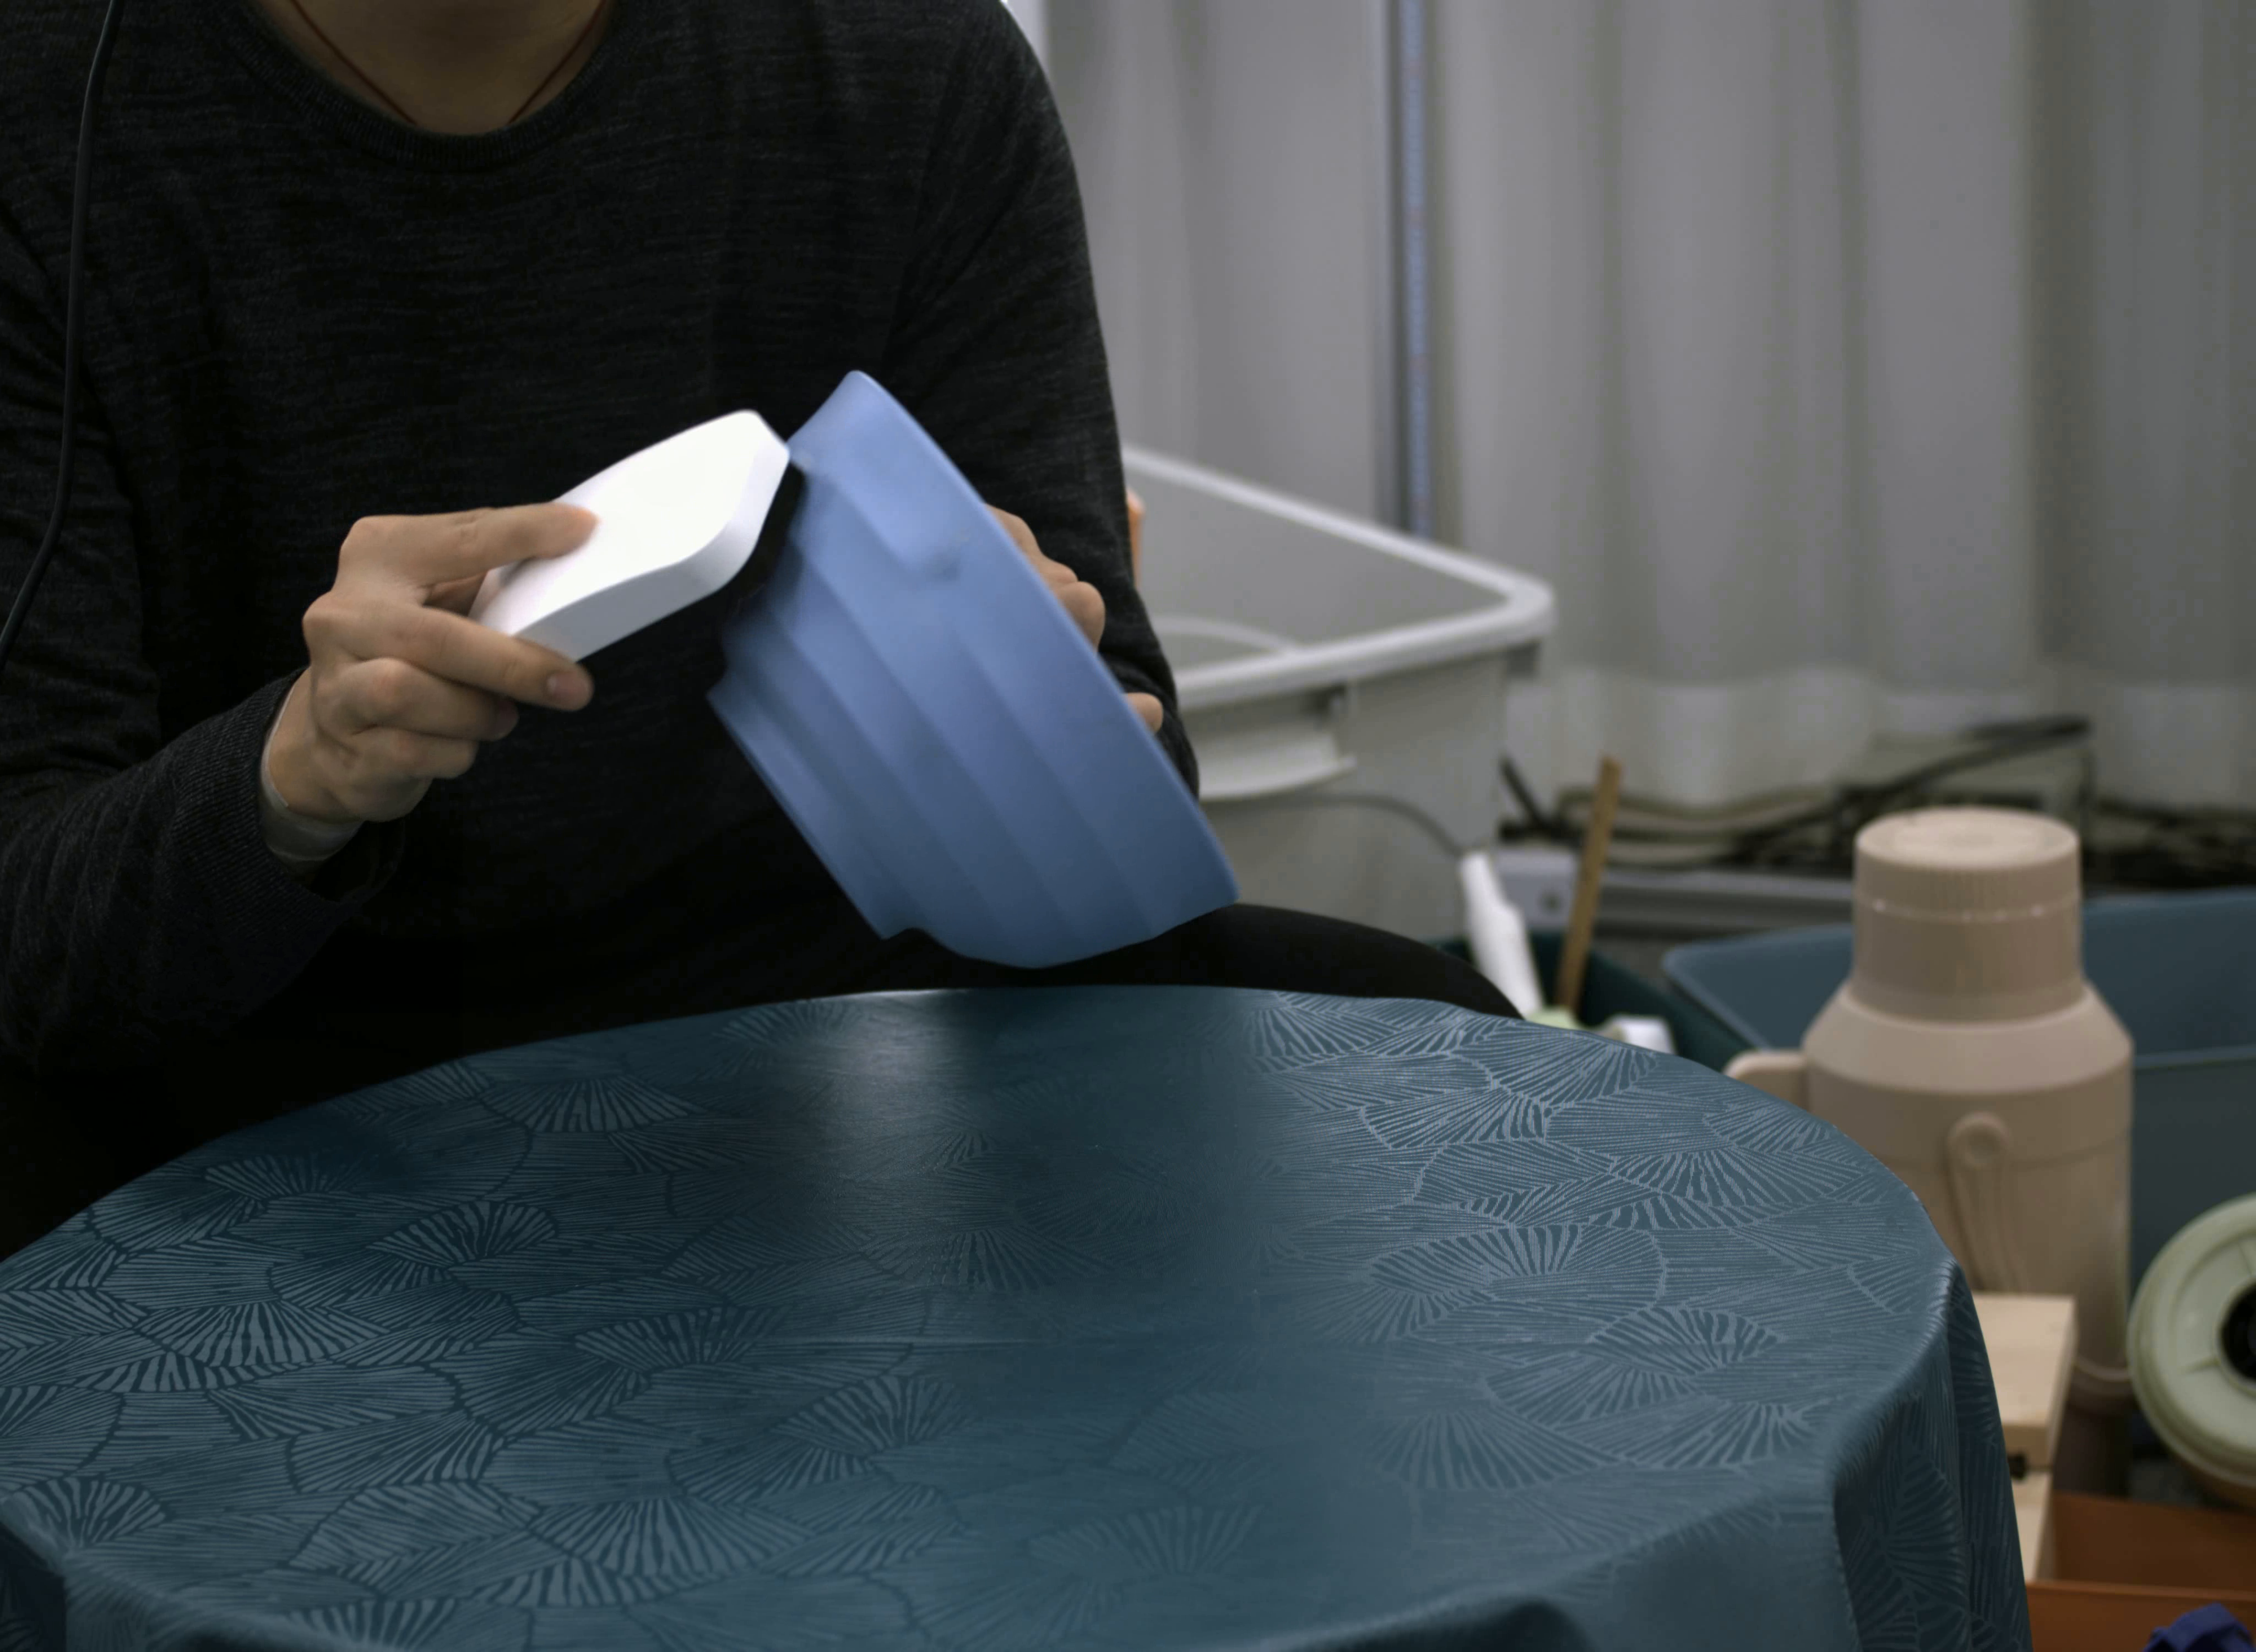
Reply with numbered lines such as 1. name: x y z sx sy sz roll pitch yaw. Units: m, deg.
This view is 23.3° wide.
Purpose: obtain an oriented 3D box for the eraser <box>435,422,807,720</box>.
1. eraser: -0.151 -0.076 1.612 0.131 0.034 0.064 -21 36 41

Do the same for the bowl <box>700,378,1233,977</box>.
1. bowl: -0.064 -0.028 1.638 0.095 0.195 0.198 -36 20 -4
